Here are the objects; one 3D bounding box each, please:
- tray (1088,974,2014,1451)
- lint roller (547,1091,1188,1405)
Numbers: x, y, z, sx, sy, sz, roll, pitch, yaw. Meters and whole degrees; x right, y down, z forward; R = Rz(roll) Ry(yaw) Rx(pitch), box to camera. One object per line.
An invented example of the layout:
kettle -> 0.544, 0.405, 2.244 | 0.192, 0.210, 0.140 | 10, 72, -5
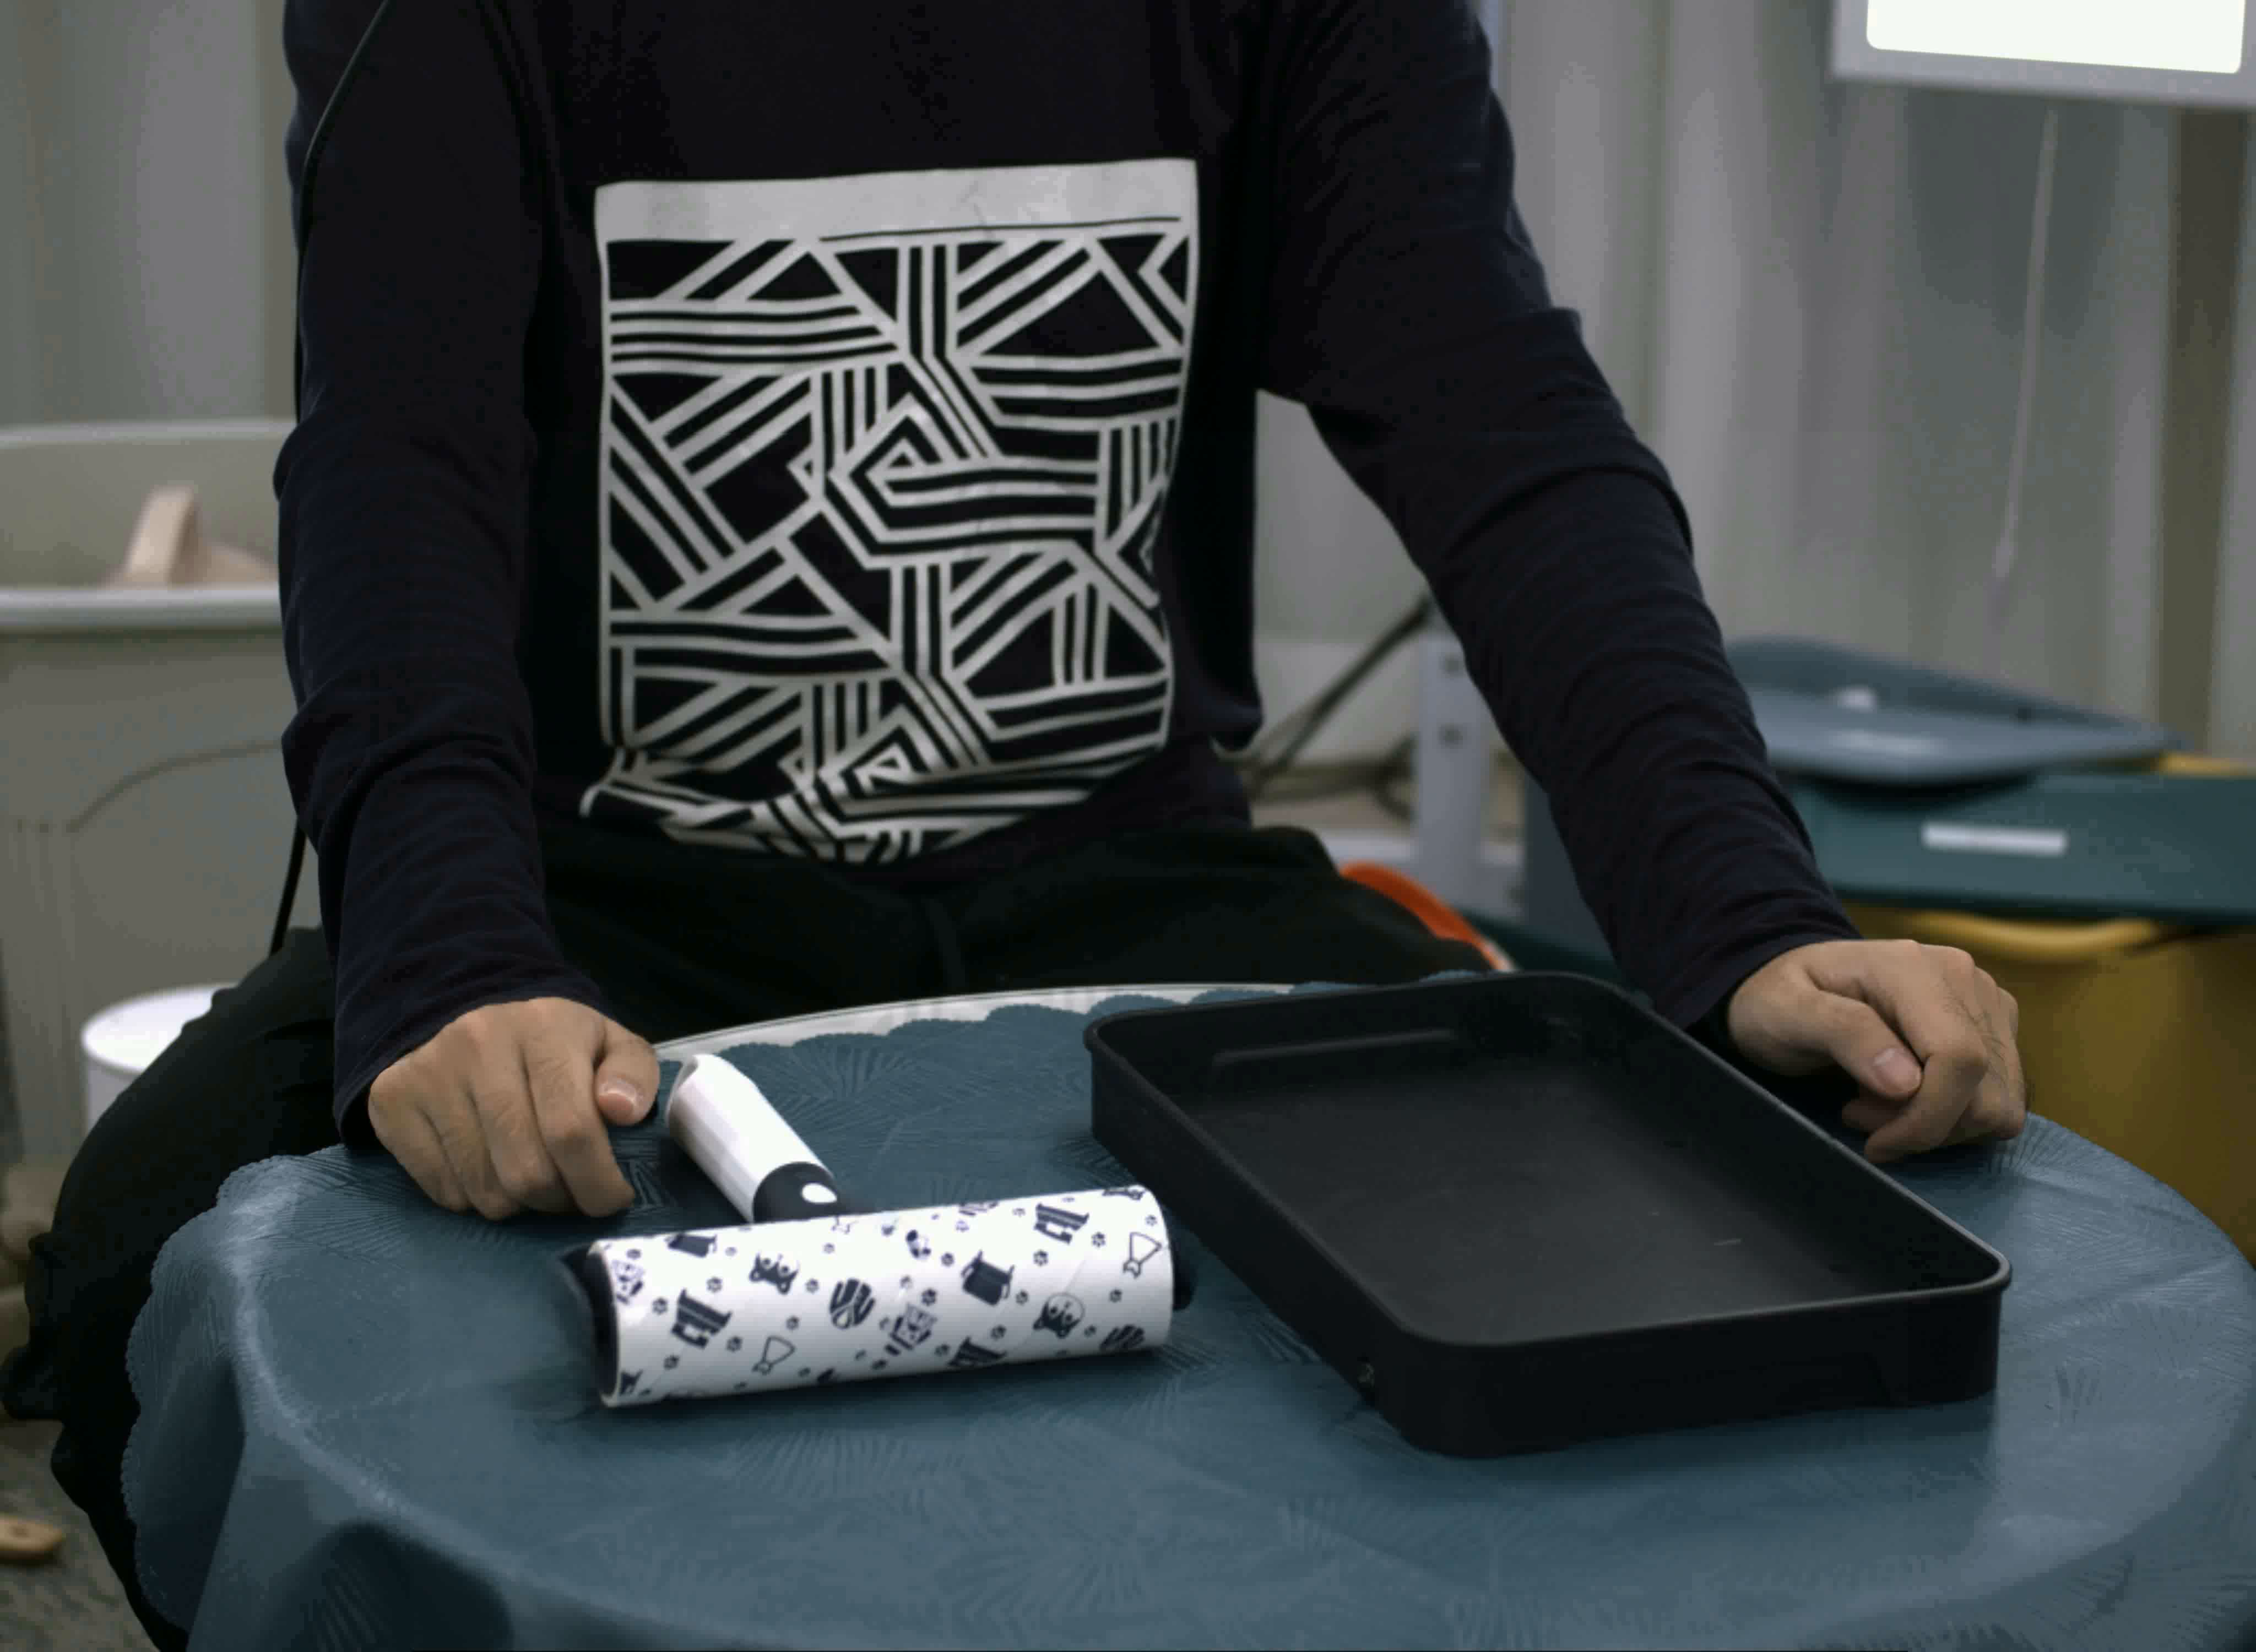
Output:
tray -> 0.117, 0.109, 1.575 | 0.185, 0.037, 0.314 | -4, 16, -18
lint roller -> -0.102, 0.109, 1.559 | 0.176, 0.051, 0.244 | -6, 13, -18
